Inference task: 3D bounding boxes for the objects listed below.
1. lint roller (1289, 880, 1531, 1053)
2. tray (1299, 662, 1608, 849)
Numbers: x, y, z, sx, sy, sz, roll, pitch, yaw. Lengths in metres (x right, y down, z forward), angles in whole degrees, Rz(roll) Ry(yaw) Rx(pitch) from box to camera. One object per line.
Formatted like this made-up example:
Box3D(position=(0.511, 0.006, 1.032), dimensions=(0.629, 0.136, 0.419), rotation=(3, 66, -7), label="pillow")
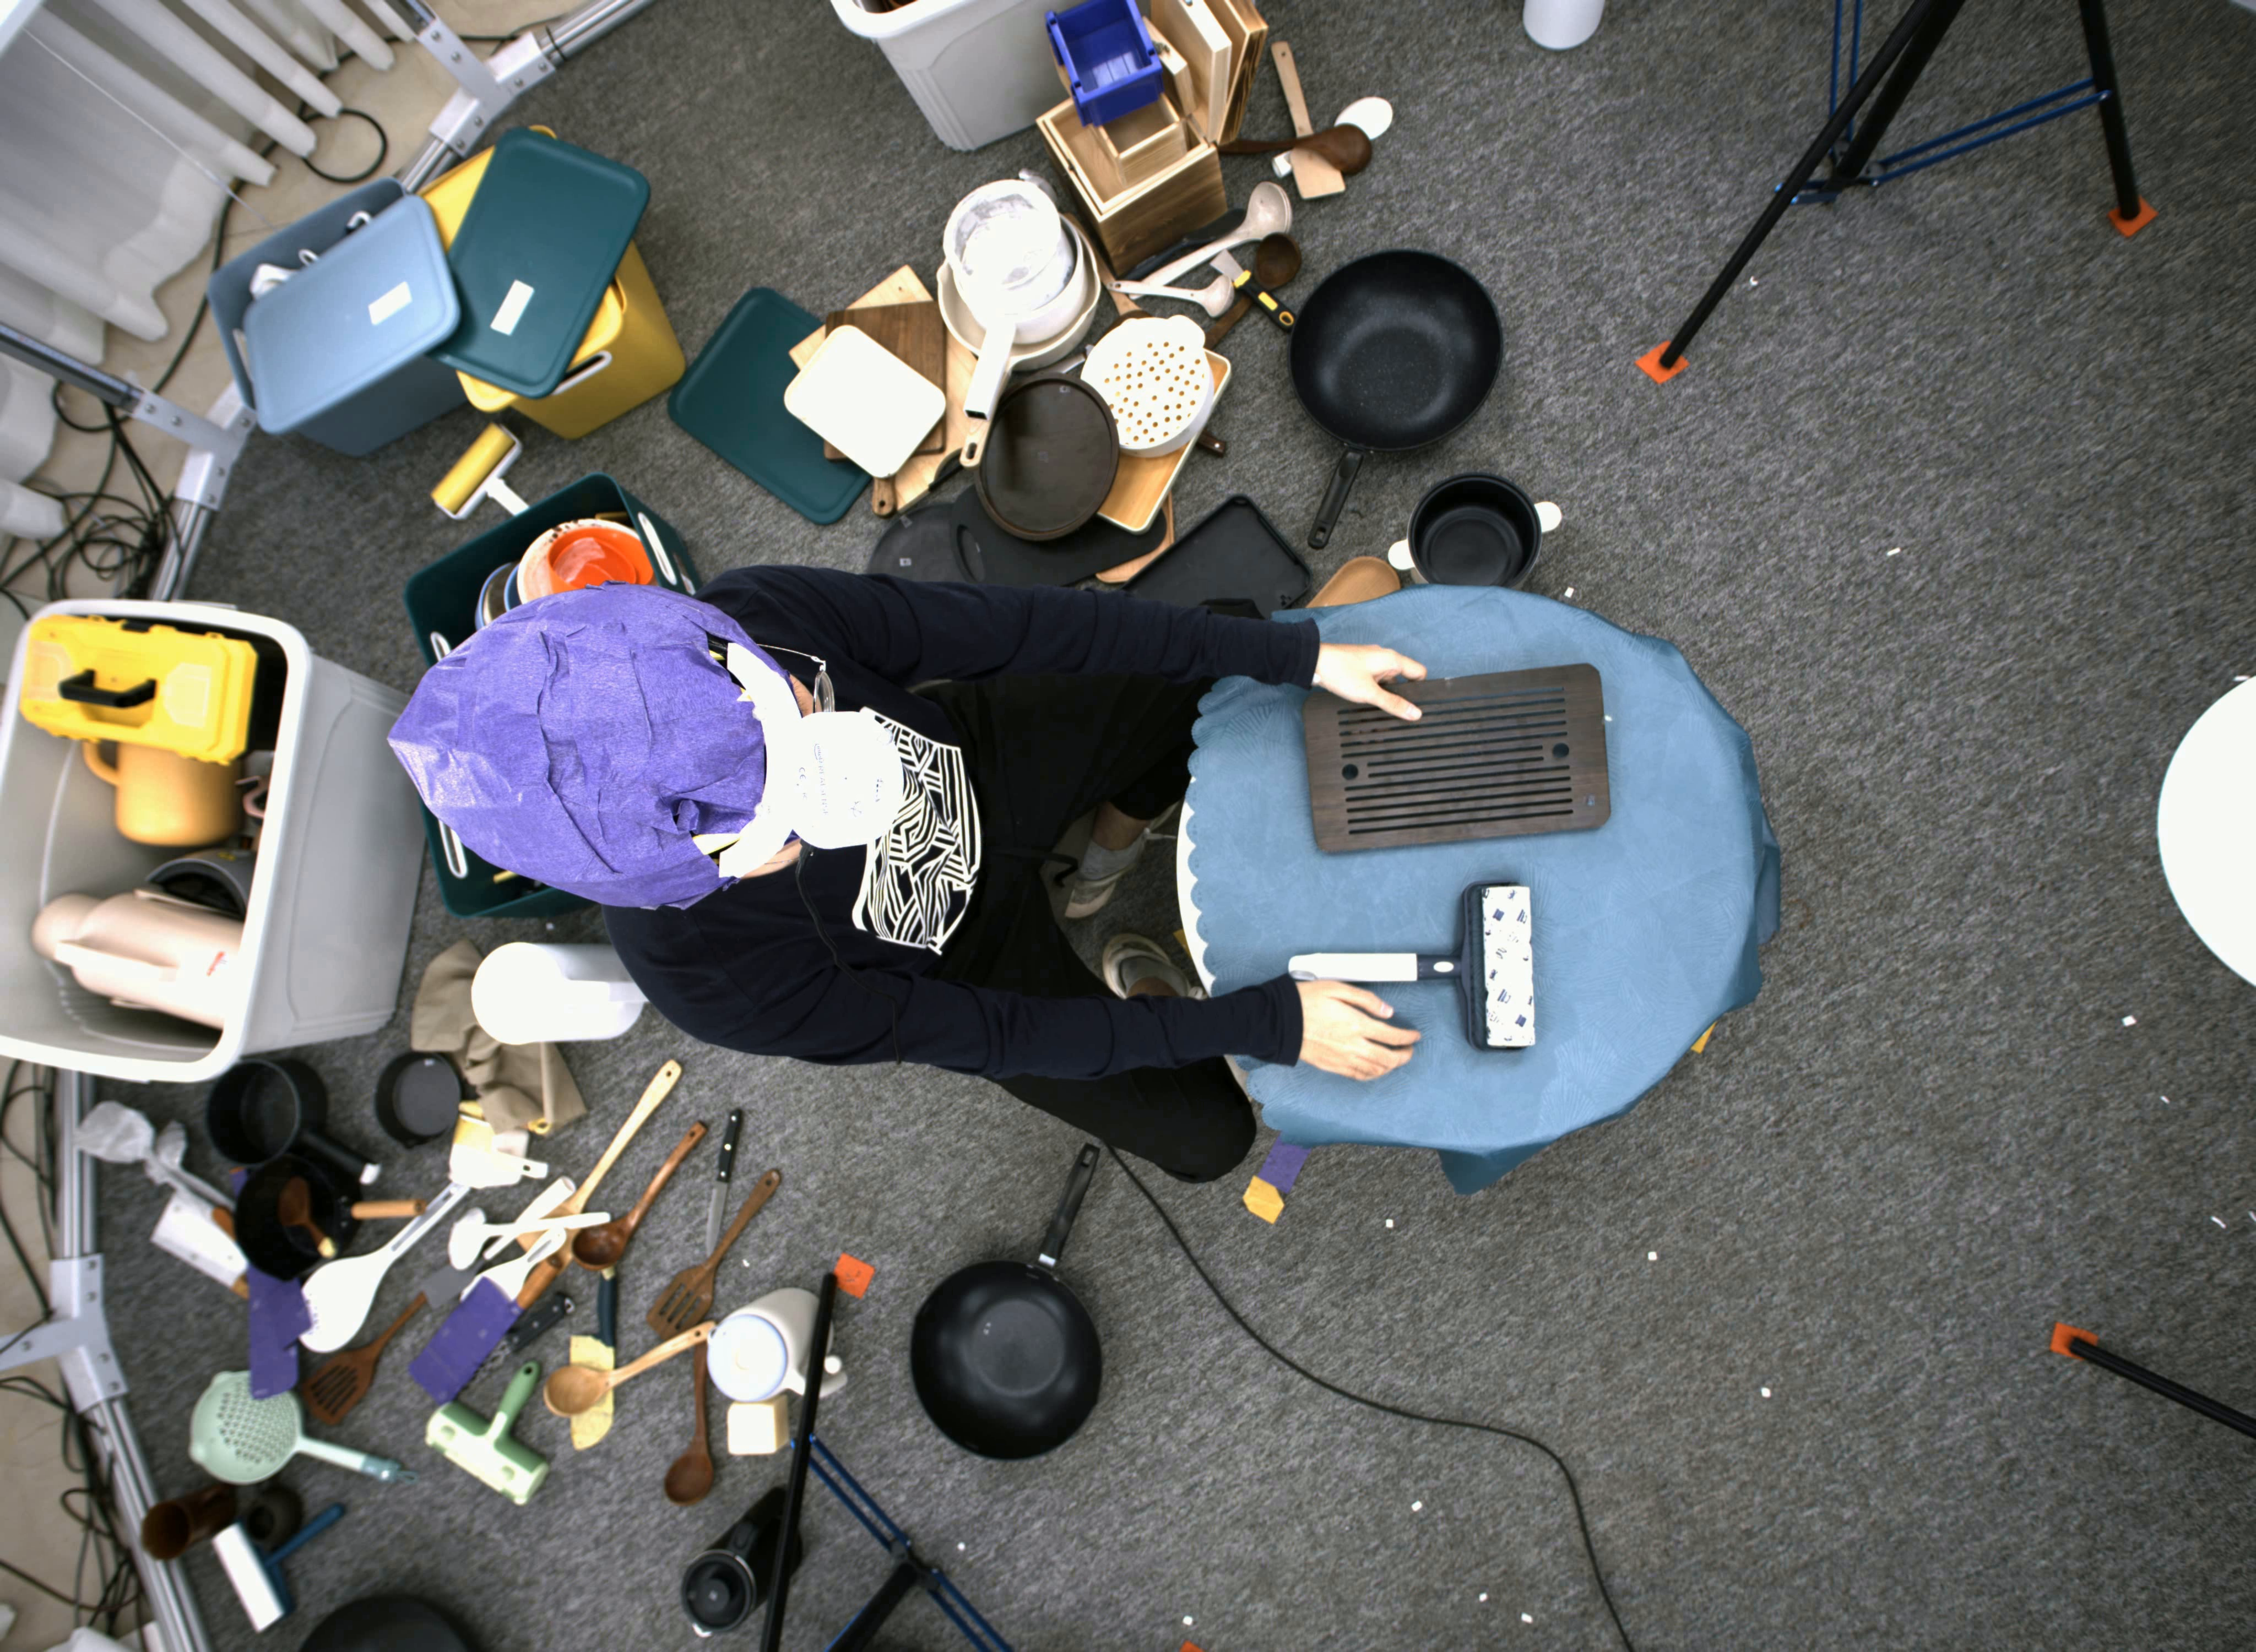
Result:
Box3D(position=(0.290, 0.146, 1.432), dimensions=(0.248, 0.050, 0.175), rotation=(-3, 87, 13), label="lint roller")
Box3D(position=(0.337, -0.074, 1.426), dimensions=(0.307, 0.018, 0.171), rotation=(-5, 100, 11), label="tray")
